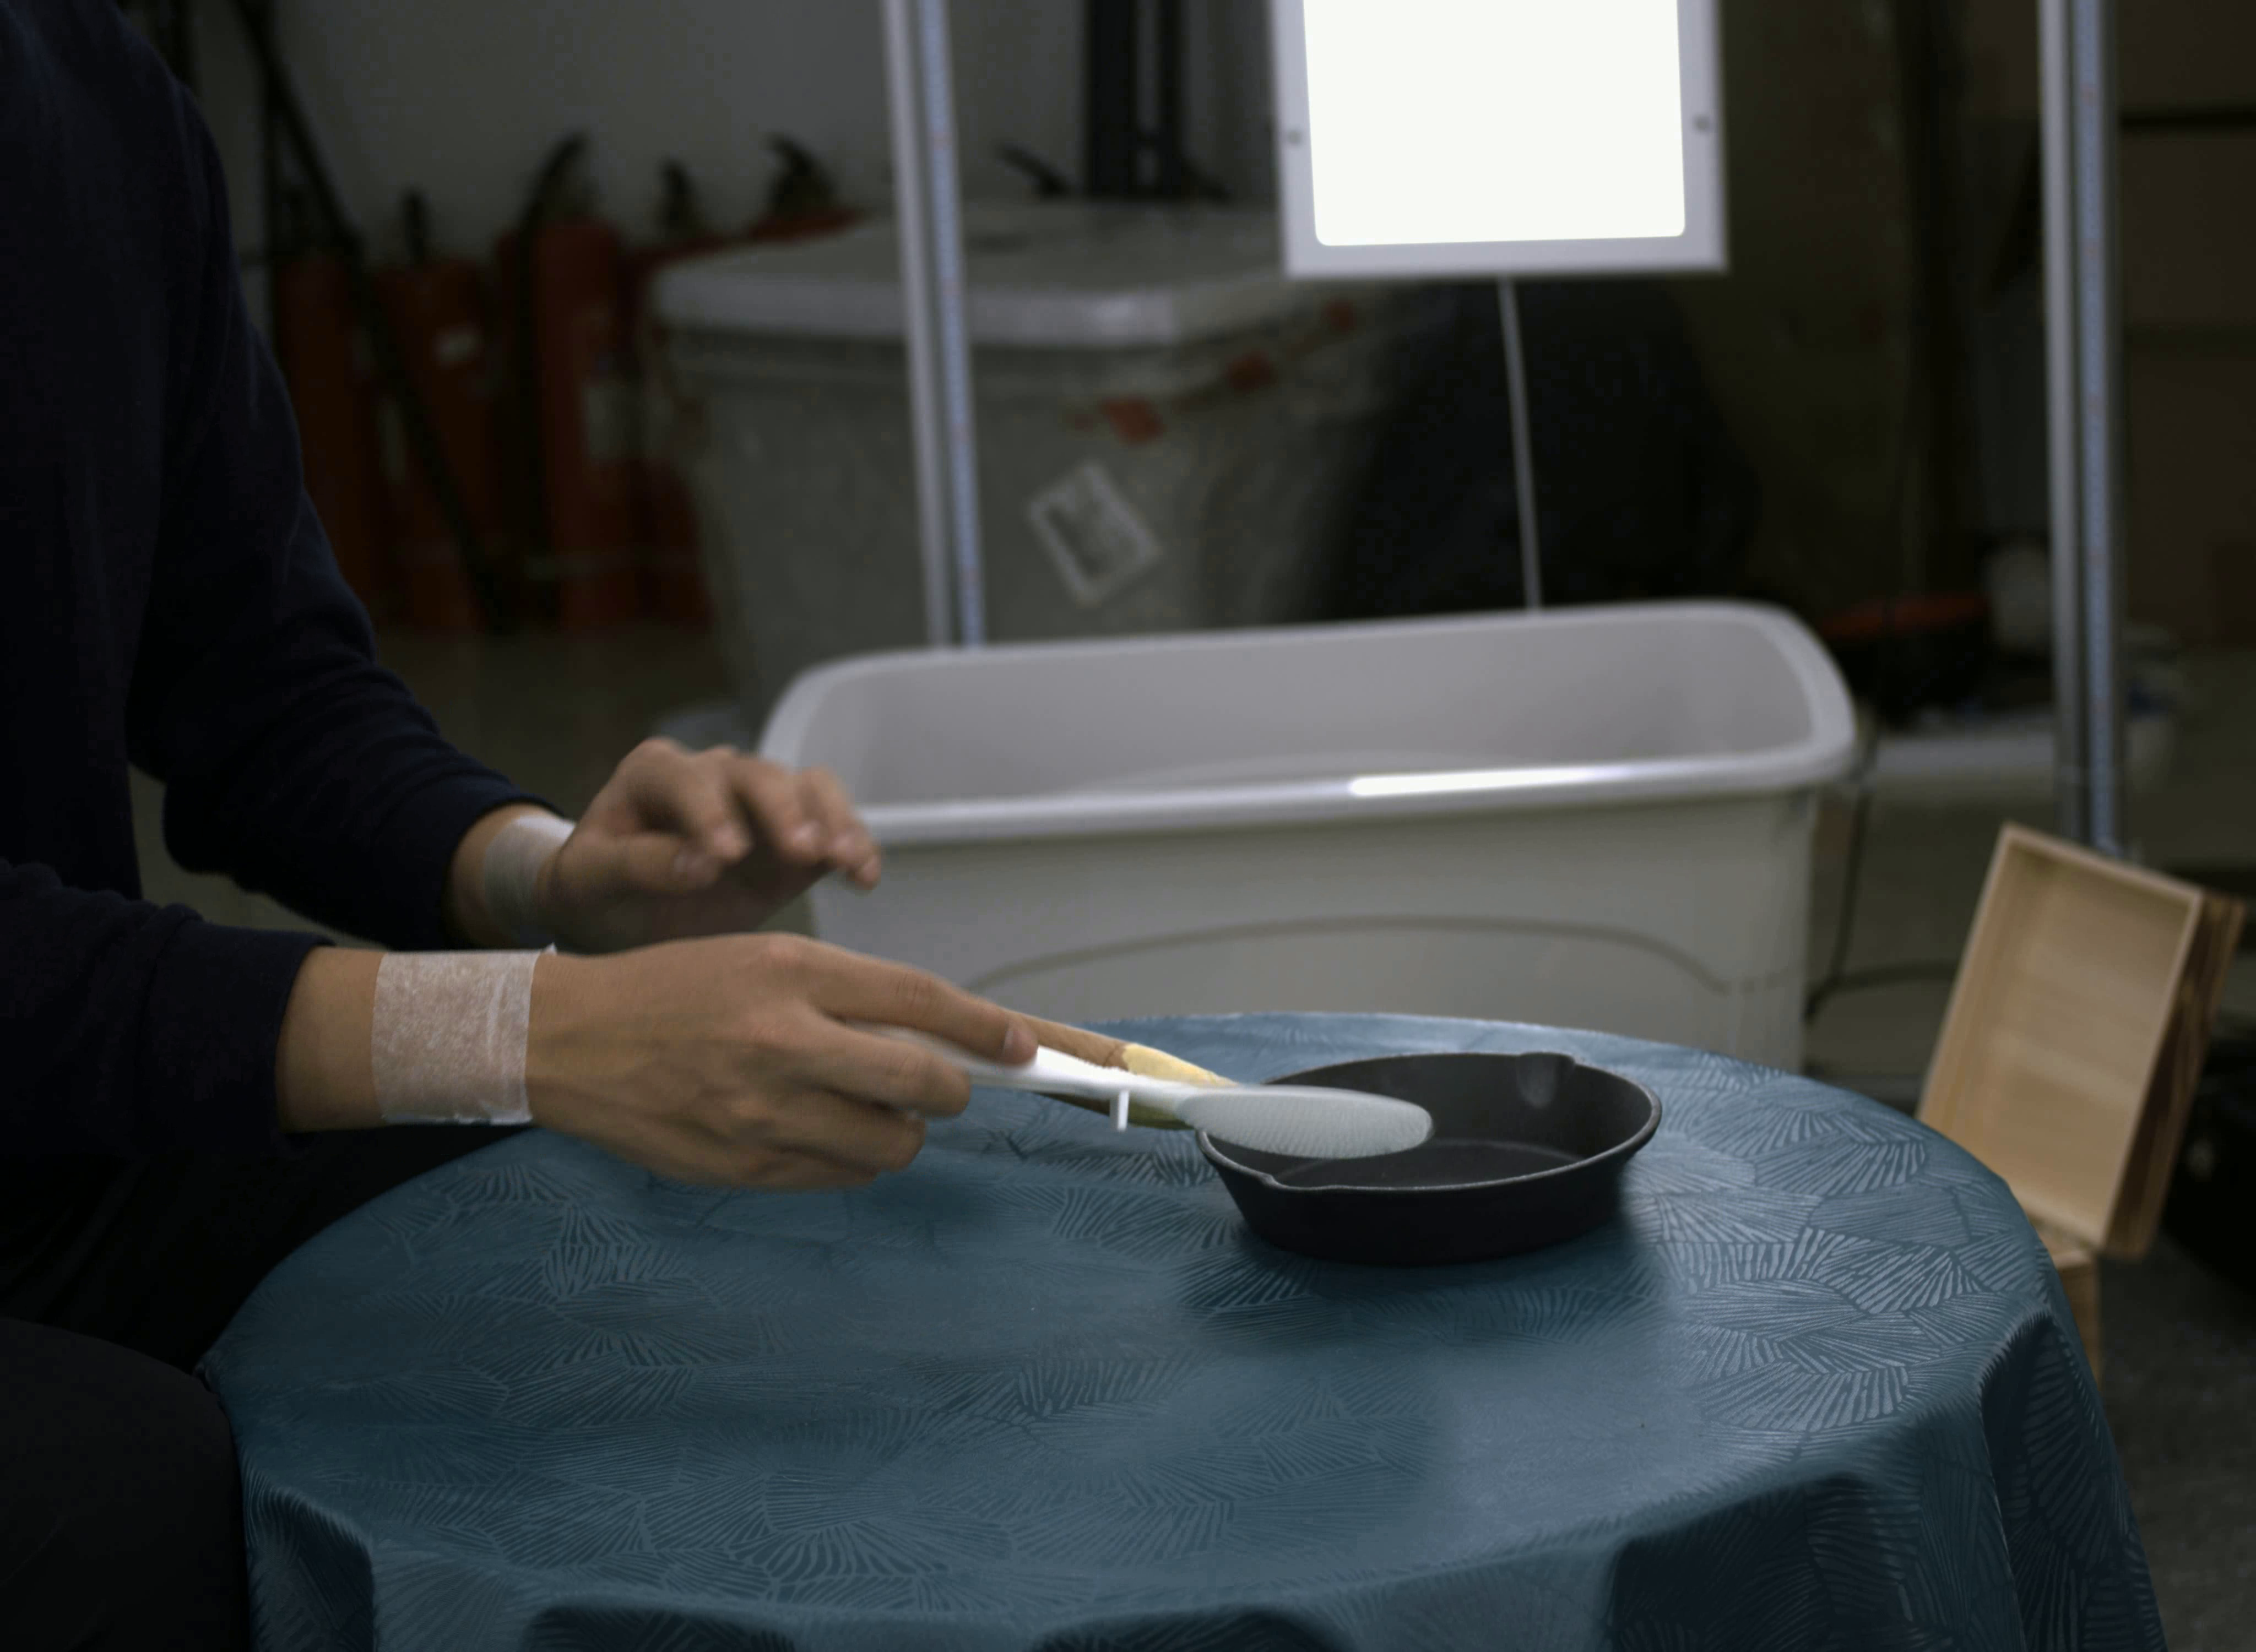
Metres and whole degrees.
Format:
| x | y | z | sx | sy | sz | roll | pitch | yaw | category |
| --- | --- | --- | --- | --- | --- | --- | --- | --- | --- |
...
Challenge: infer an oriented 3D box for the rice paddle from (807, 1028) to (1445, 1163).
| x | y | z | sx | sy | sz | roll | pitch | yaw | category |
| --- | --- | --- | --- | --- | --- | --- | --- | --- | --- |
| 0.002 | 0.087 | 1.741 | 0.203 | 0.029 | 0.069 | 5 | -4 | -9 | rice paddle |

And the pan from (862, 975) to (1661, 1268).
| x | y | z | sx | sy | sz | roll | pitch | yaw | category |
| --- | --- | --- | --- | --- | --- | --- | --- | --- | --- |
| 0.036 | 0.096 | 1.901 | 0.331 | 0.050 | 0.164 | 9 | 20 | 40 | pan |
